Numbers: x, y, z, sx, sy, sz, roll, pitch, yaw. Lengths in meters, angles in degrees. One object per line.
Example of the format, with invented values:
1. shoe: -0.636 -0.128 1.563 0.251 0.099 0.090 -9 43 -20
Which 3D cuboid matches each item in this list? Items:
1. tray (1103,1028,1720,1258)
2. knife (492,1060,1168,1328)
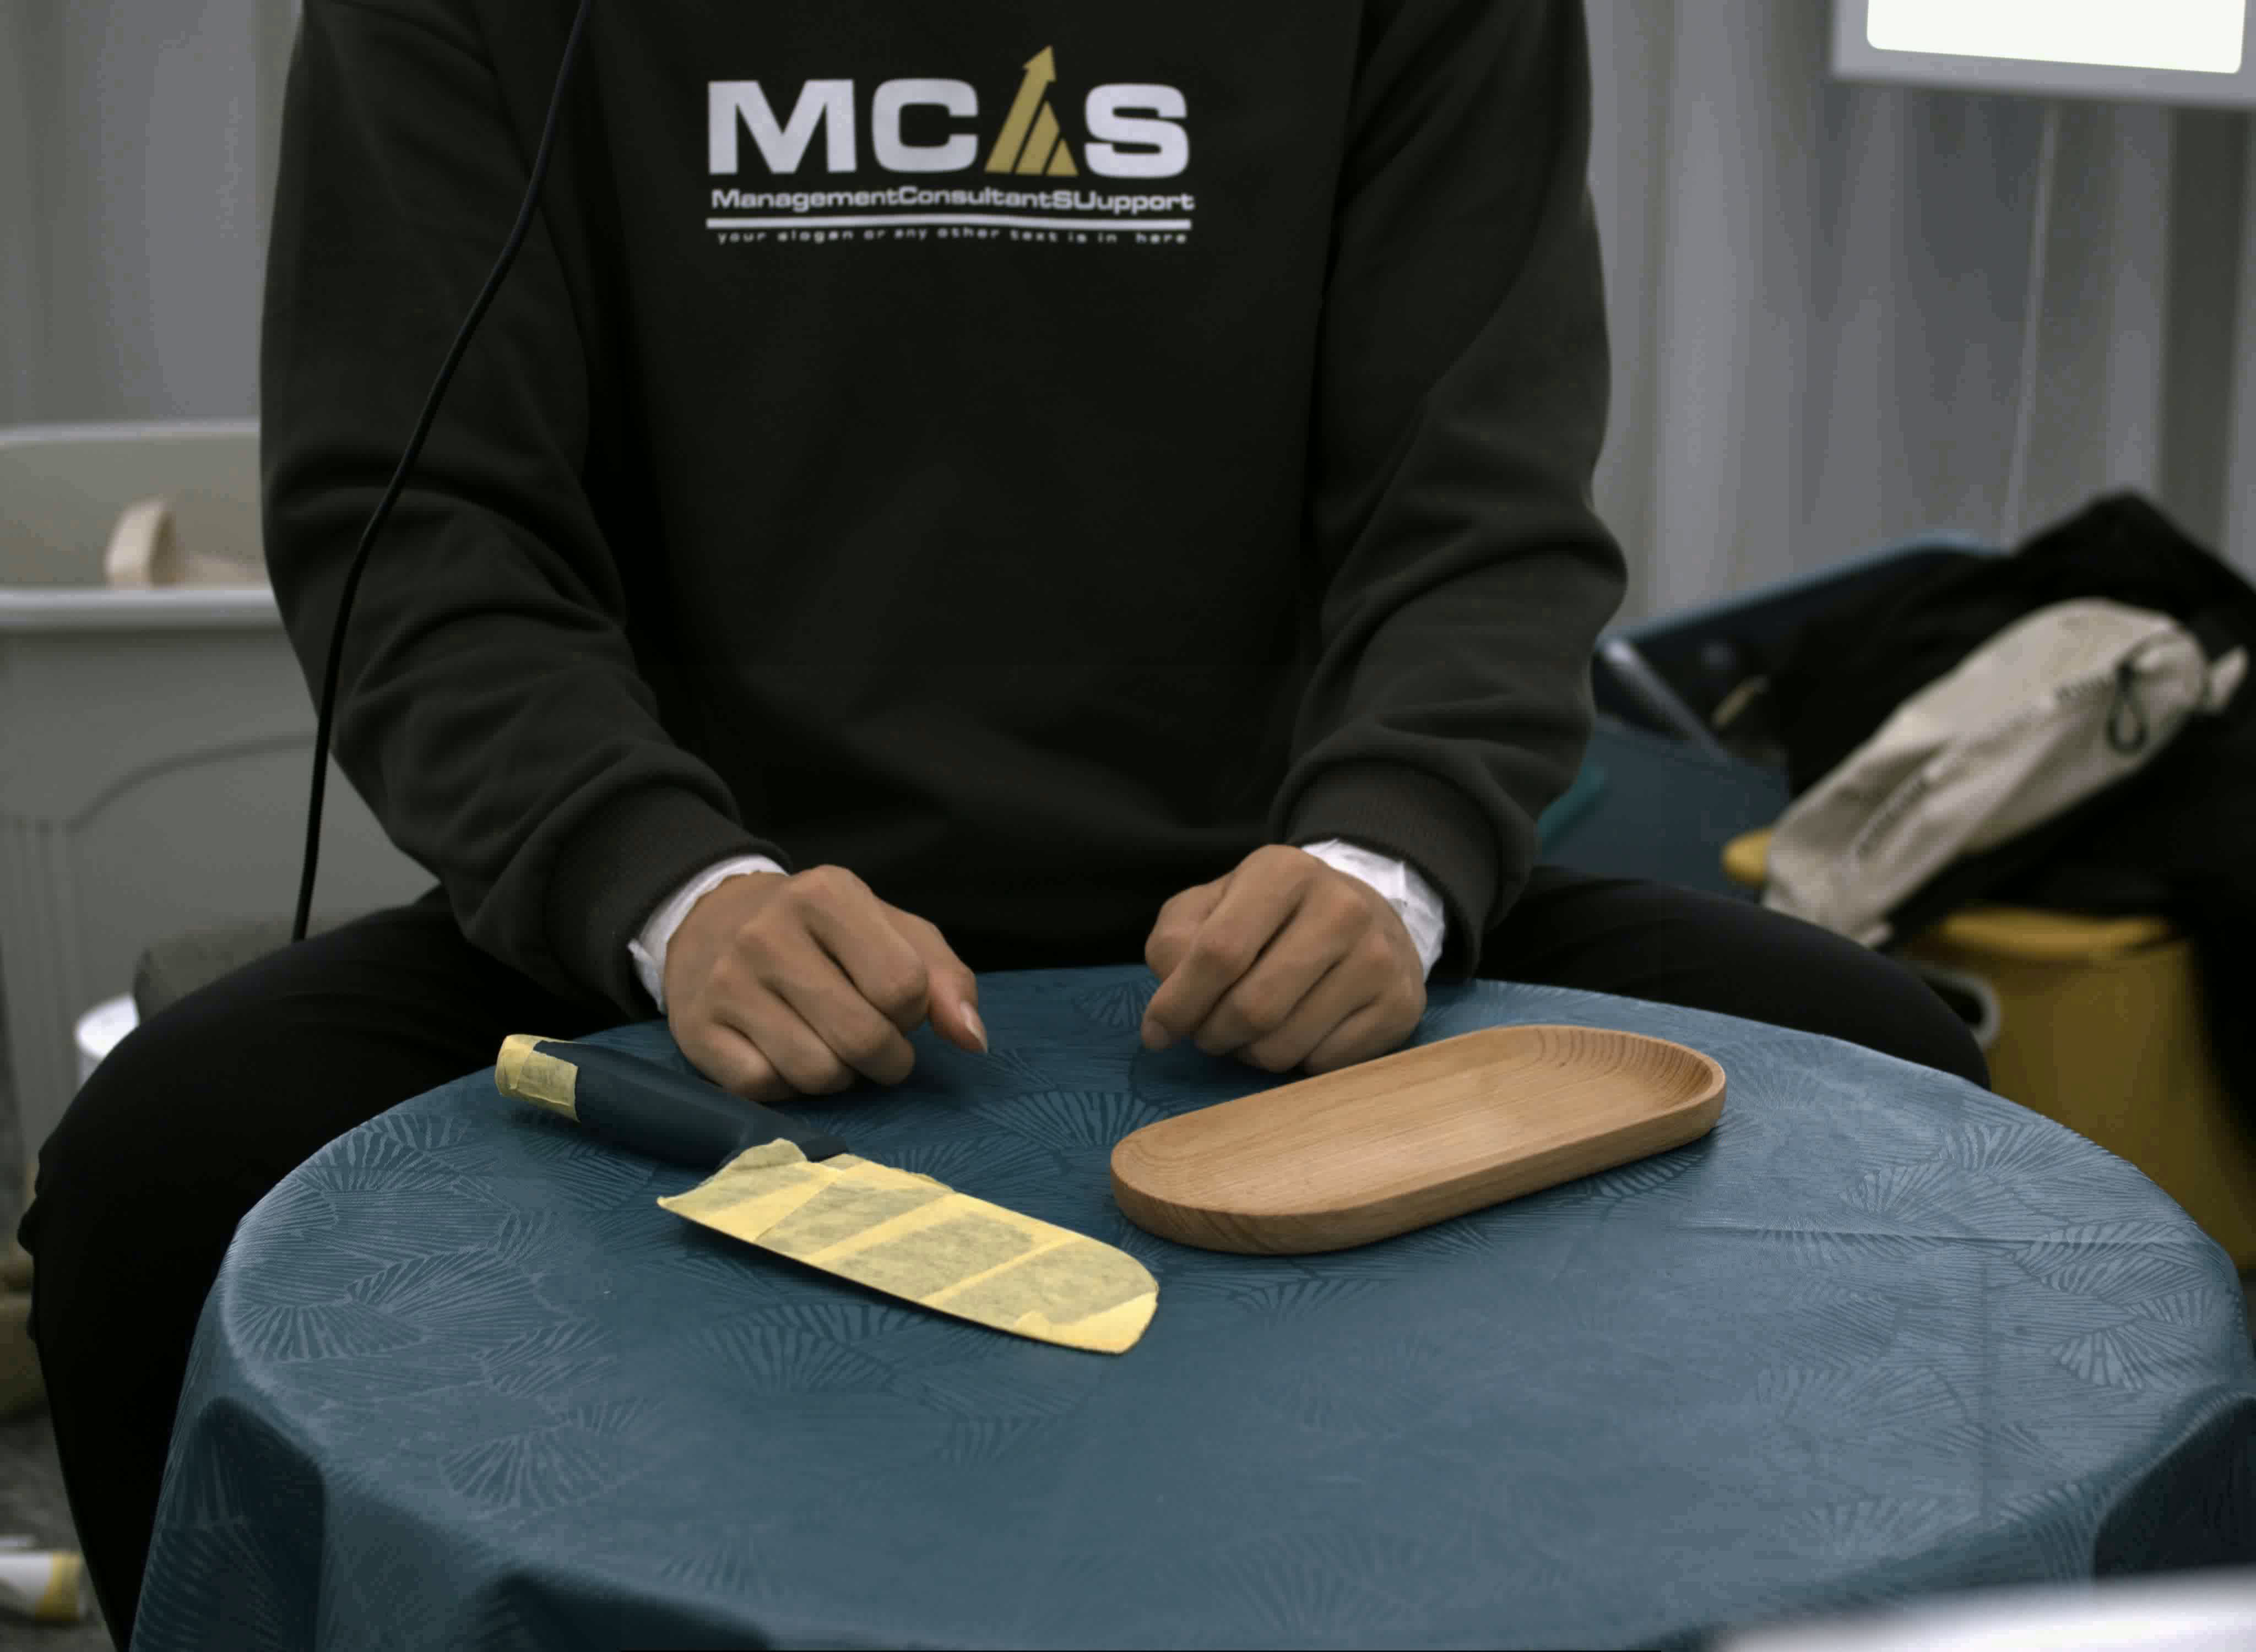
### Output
1. tray: 0.091 0.098 1.650 0.232 0.020 0.100 -15 20 -41
2. knife: -0.100 0.113 1.592 0.285 0.027 0.081 15 19 39
